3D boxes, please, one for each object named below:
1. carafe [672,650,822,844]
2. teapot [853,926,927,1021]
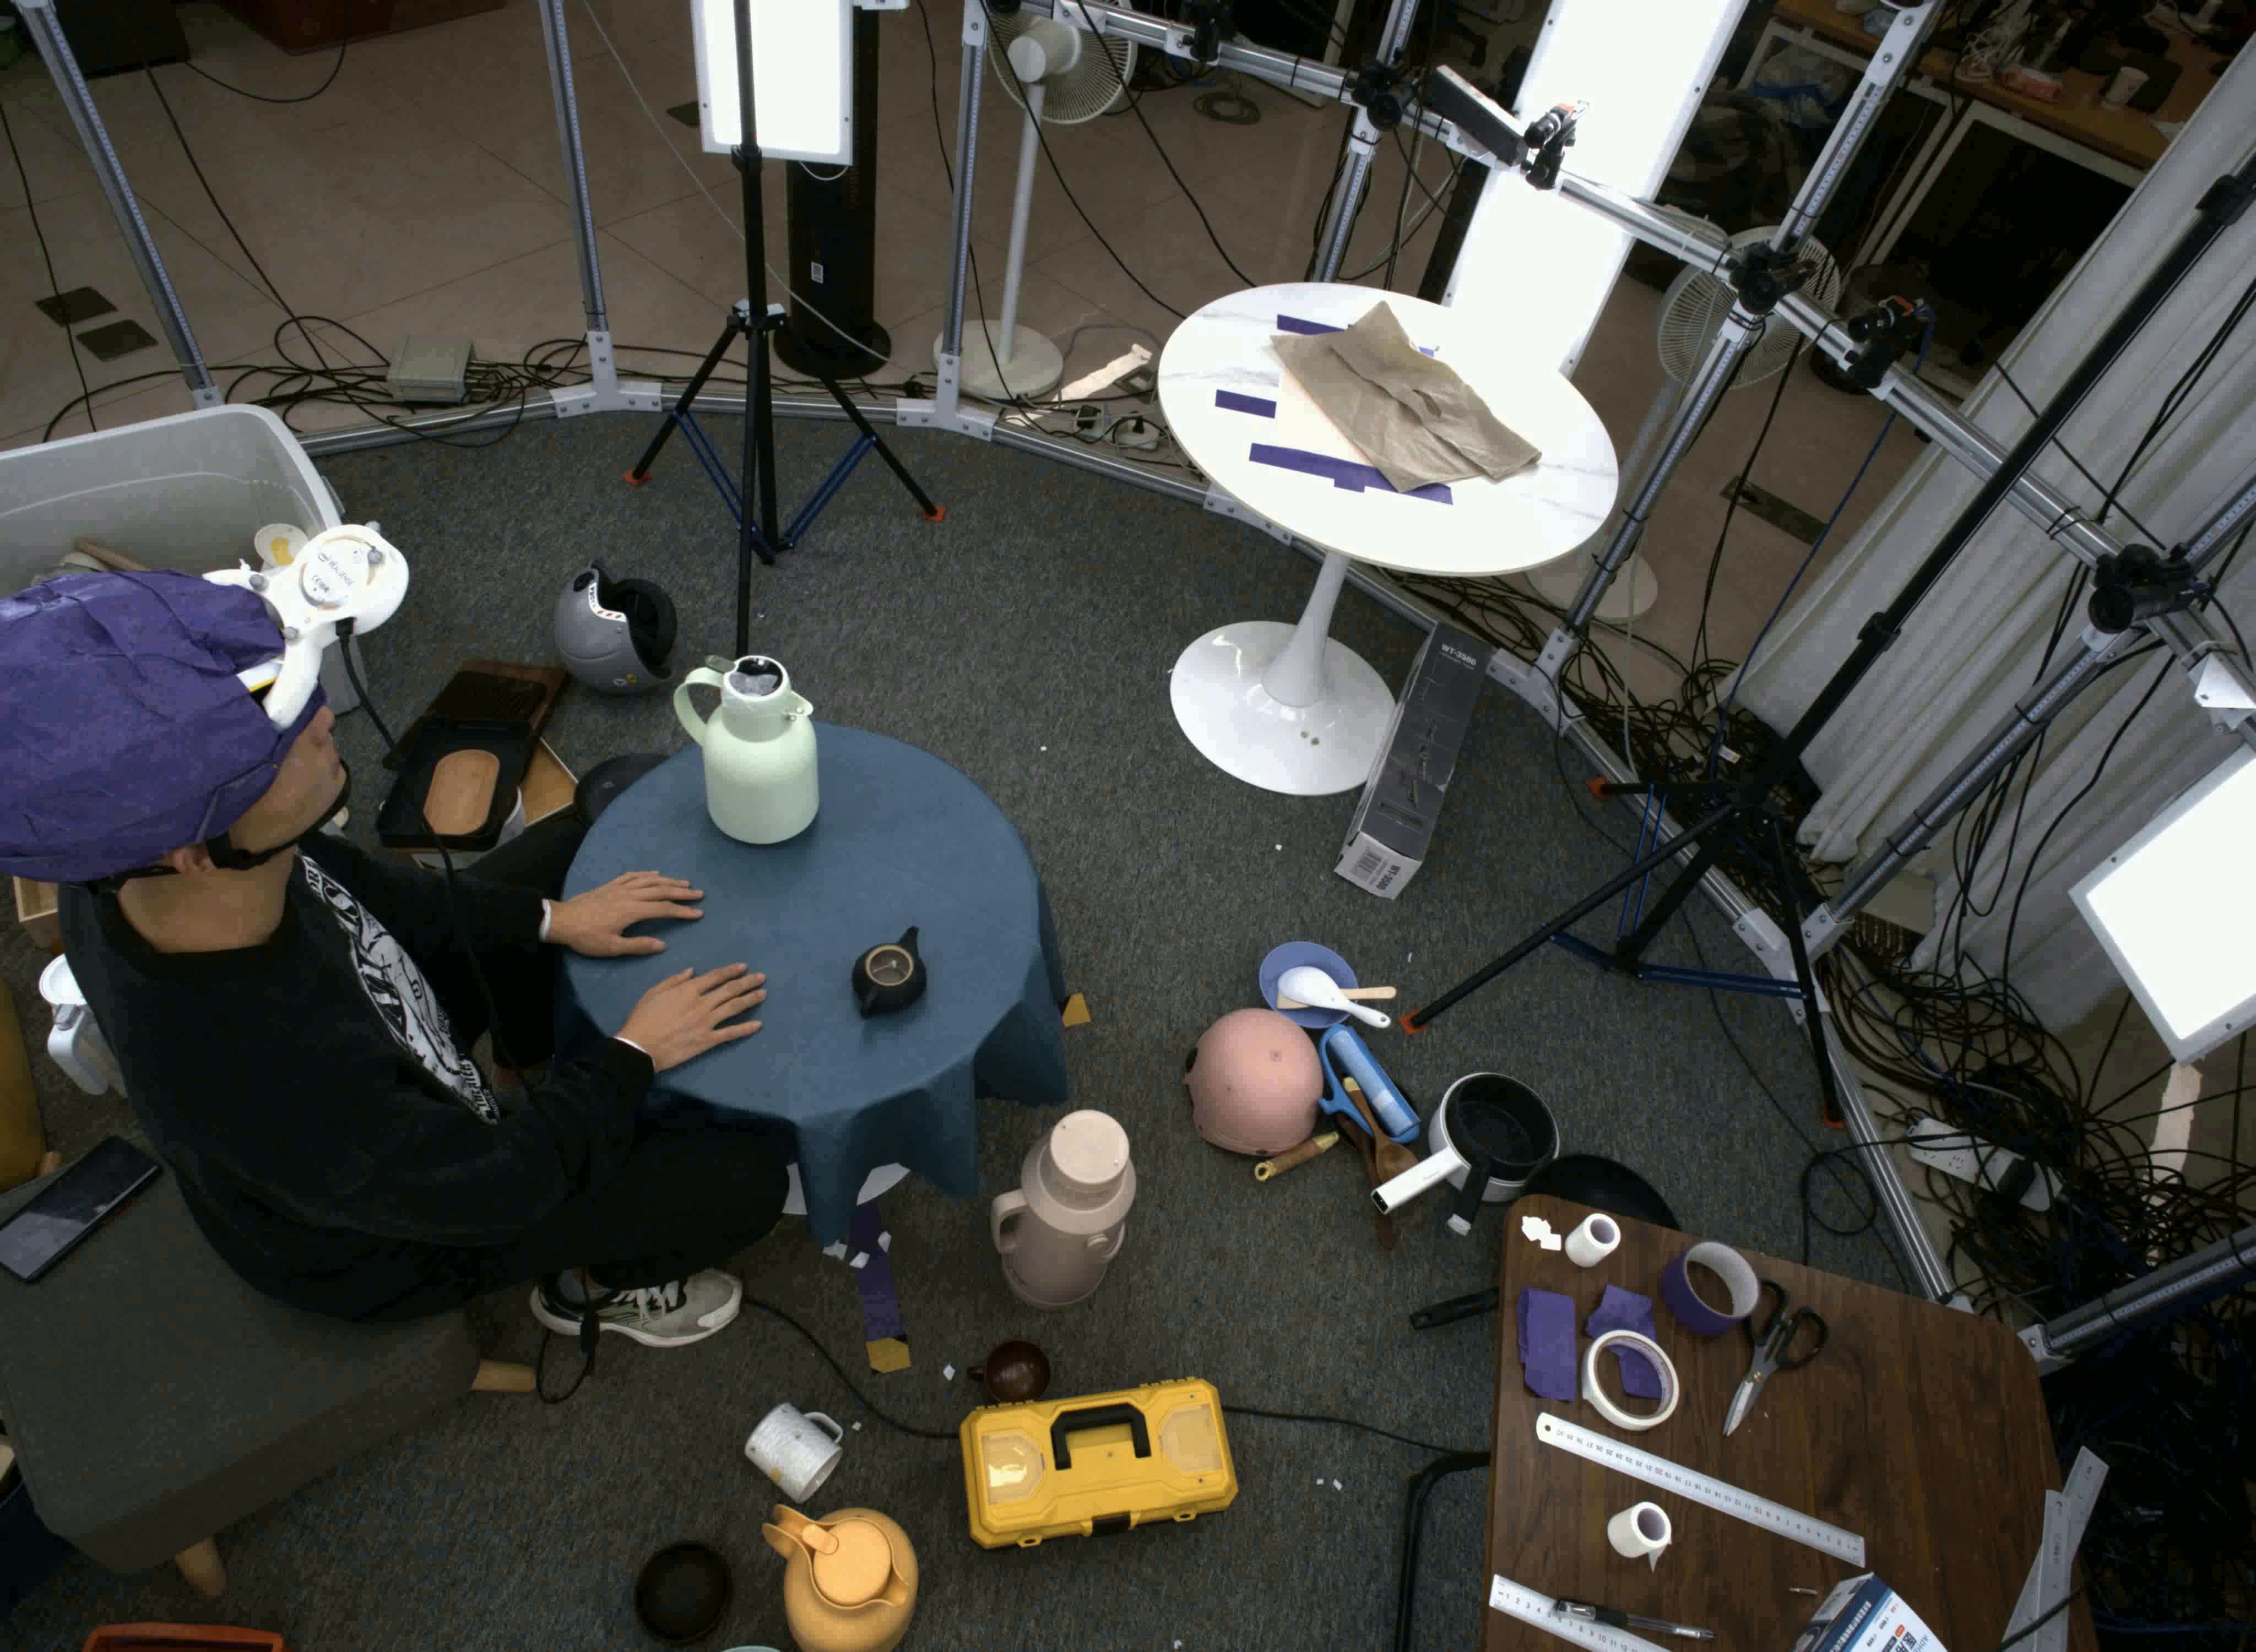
[{"bbox_3d":[-0.479,-0.110,1.627,0.184,0.263,0.143,17,52,5],"label":"carafe"},{"bbox_3d":[-0.291,0.182,1.586,0.089,0.054,0.132,23,51,6],"label":"teapot"}]
